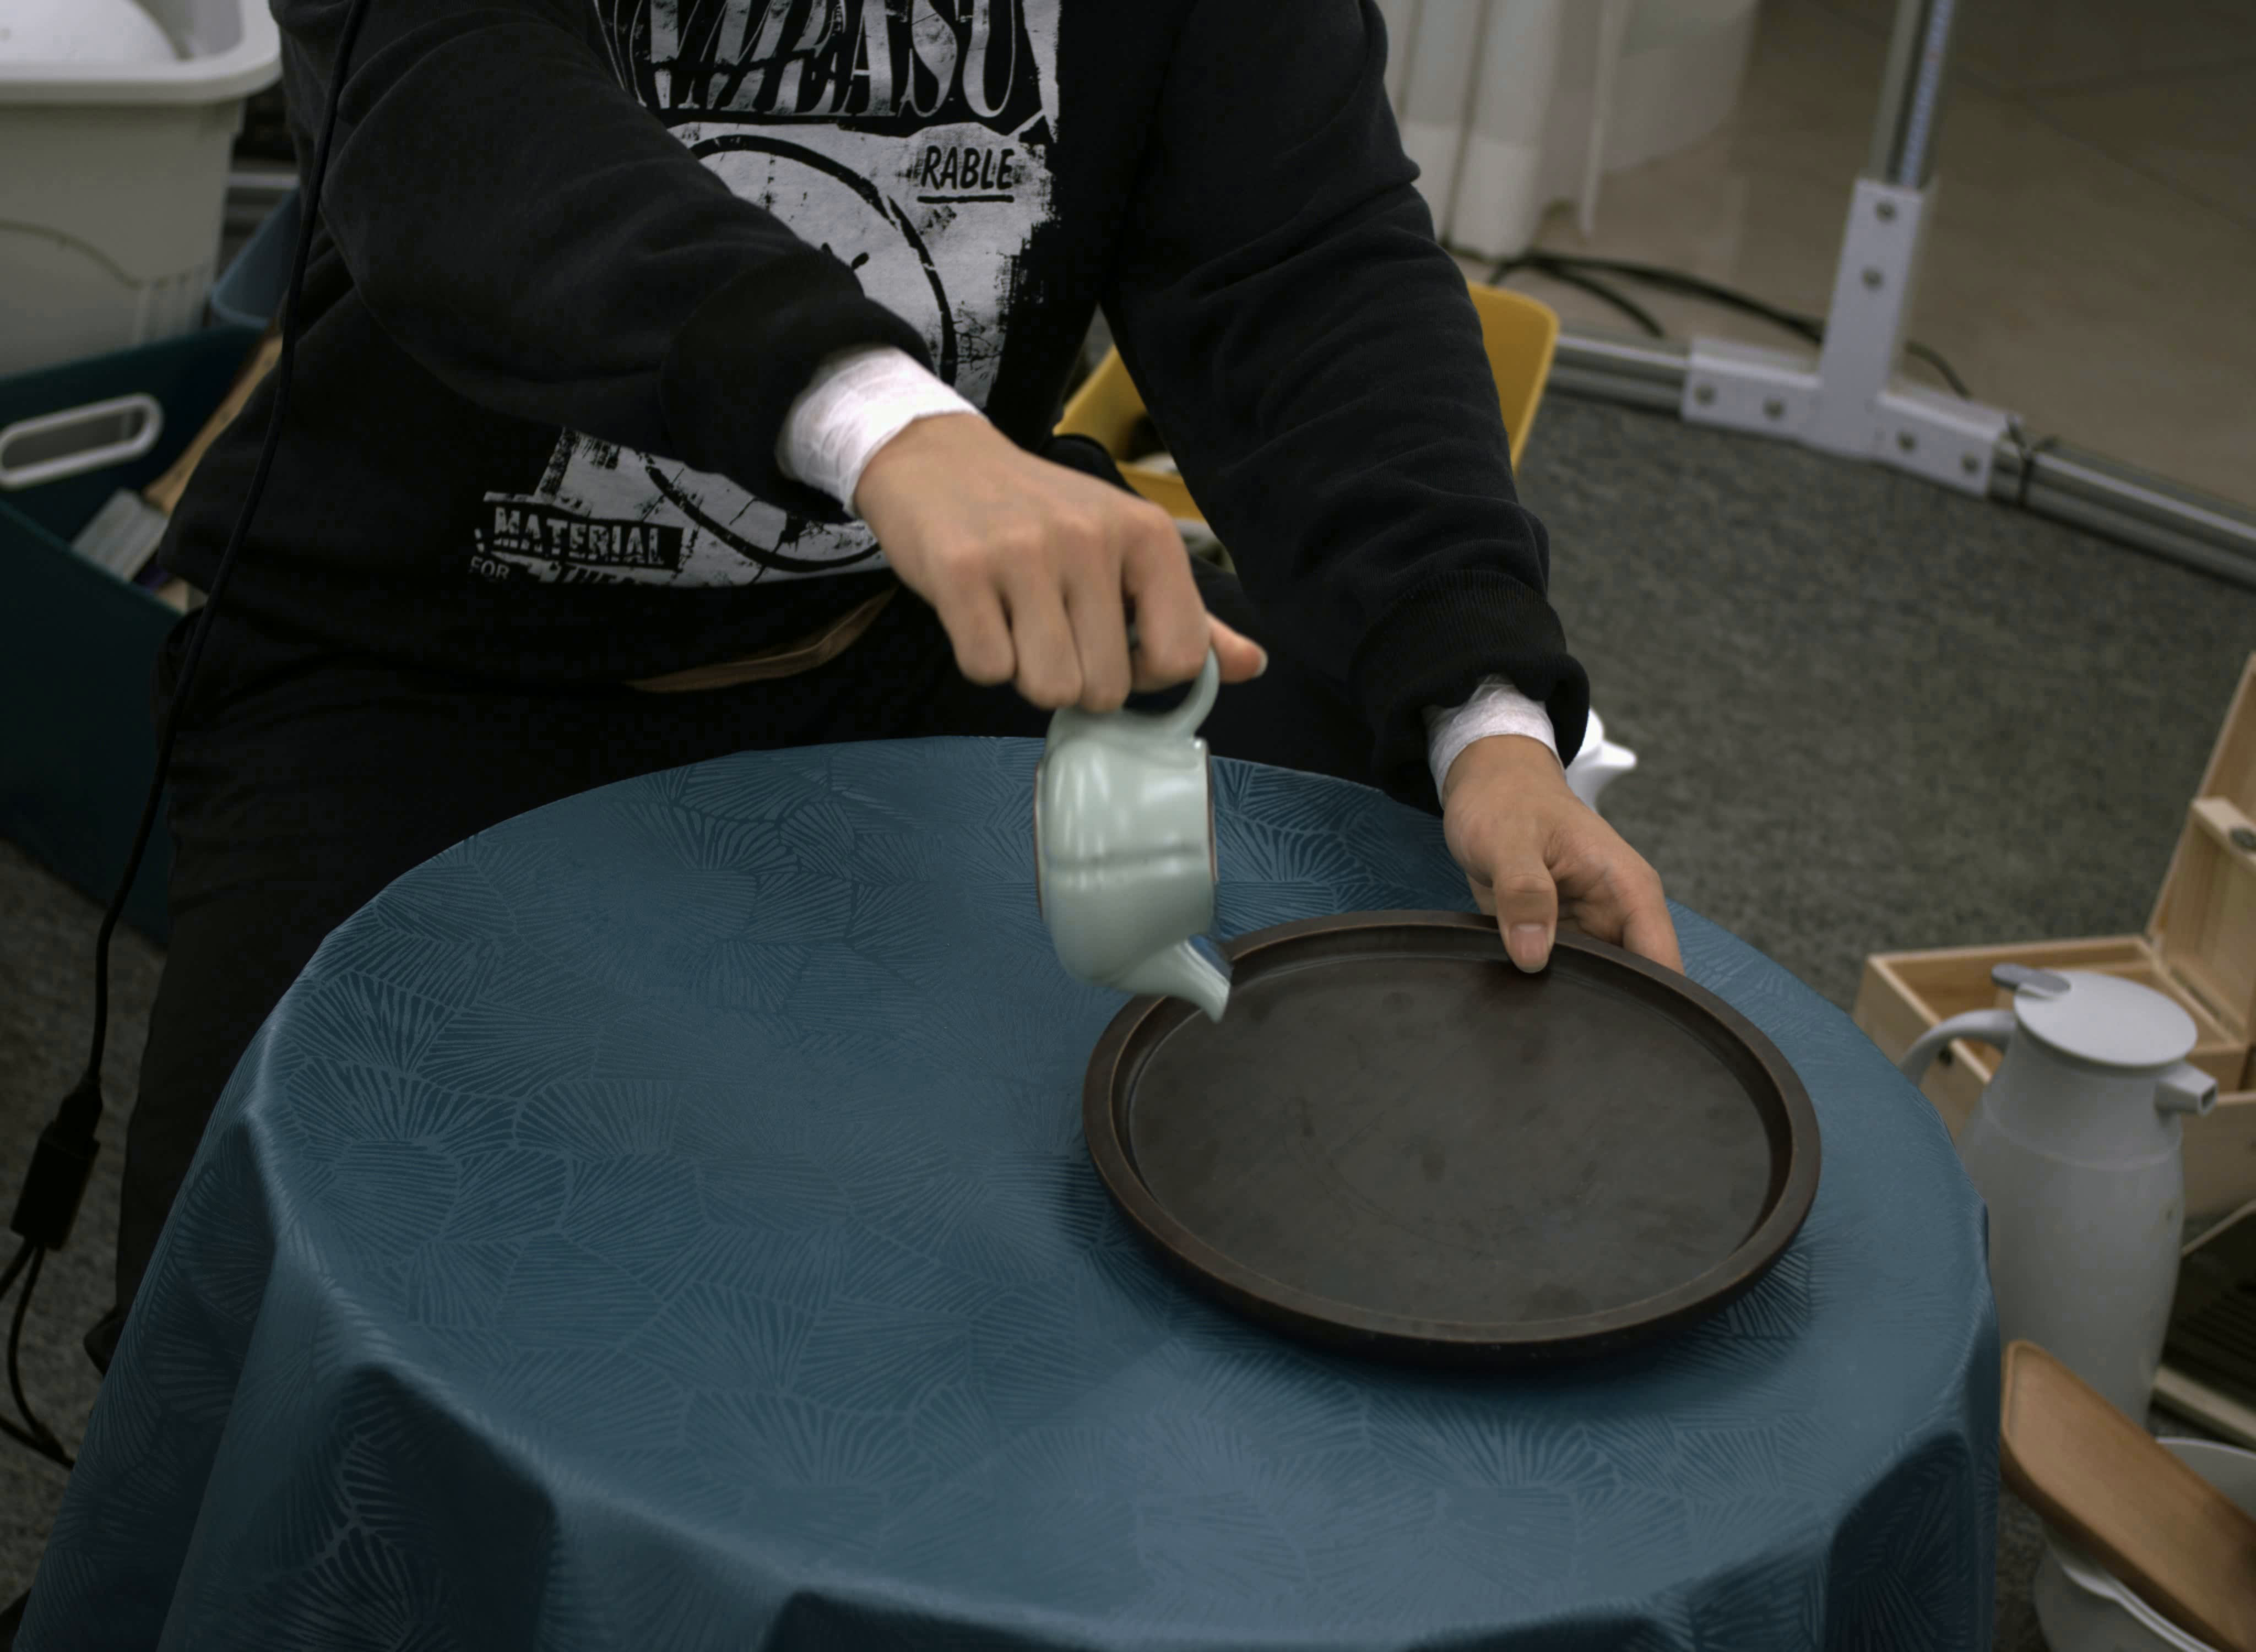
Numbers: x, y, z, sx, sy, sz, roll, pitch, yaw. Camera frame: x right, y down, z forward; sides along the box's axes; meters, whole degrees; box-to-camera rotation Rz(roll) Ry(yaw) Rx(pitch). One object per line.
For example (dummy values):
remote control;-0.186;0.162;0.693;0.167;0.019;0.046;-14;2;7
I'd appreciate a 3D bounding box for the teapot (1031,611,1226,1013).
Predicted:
teapot;0.000;-0.003;1.738;0.061;0.137;0.096;-1;15;4

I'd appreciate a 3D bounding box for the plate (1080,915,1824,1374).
plate;0.109;0.106;1.812;0.254;0.029;0.256;1;33;-1
